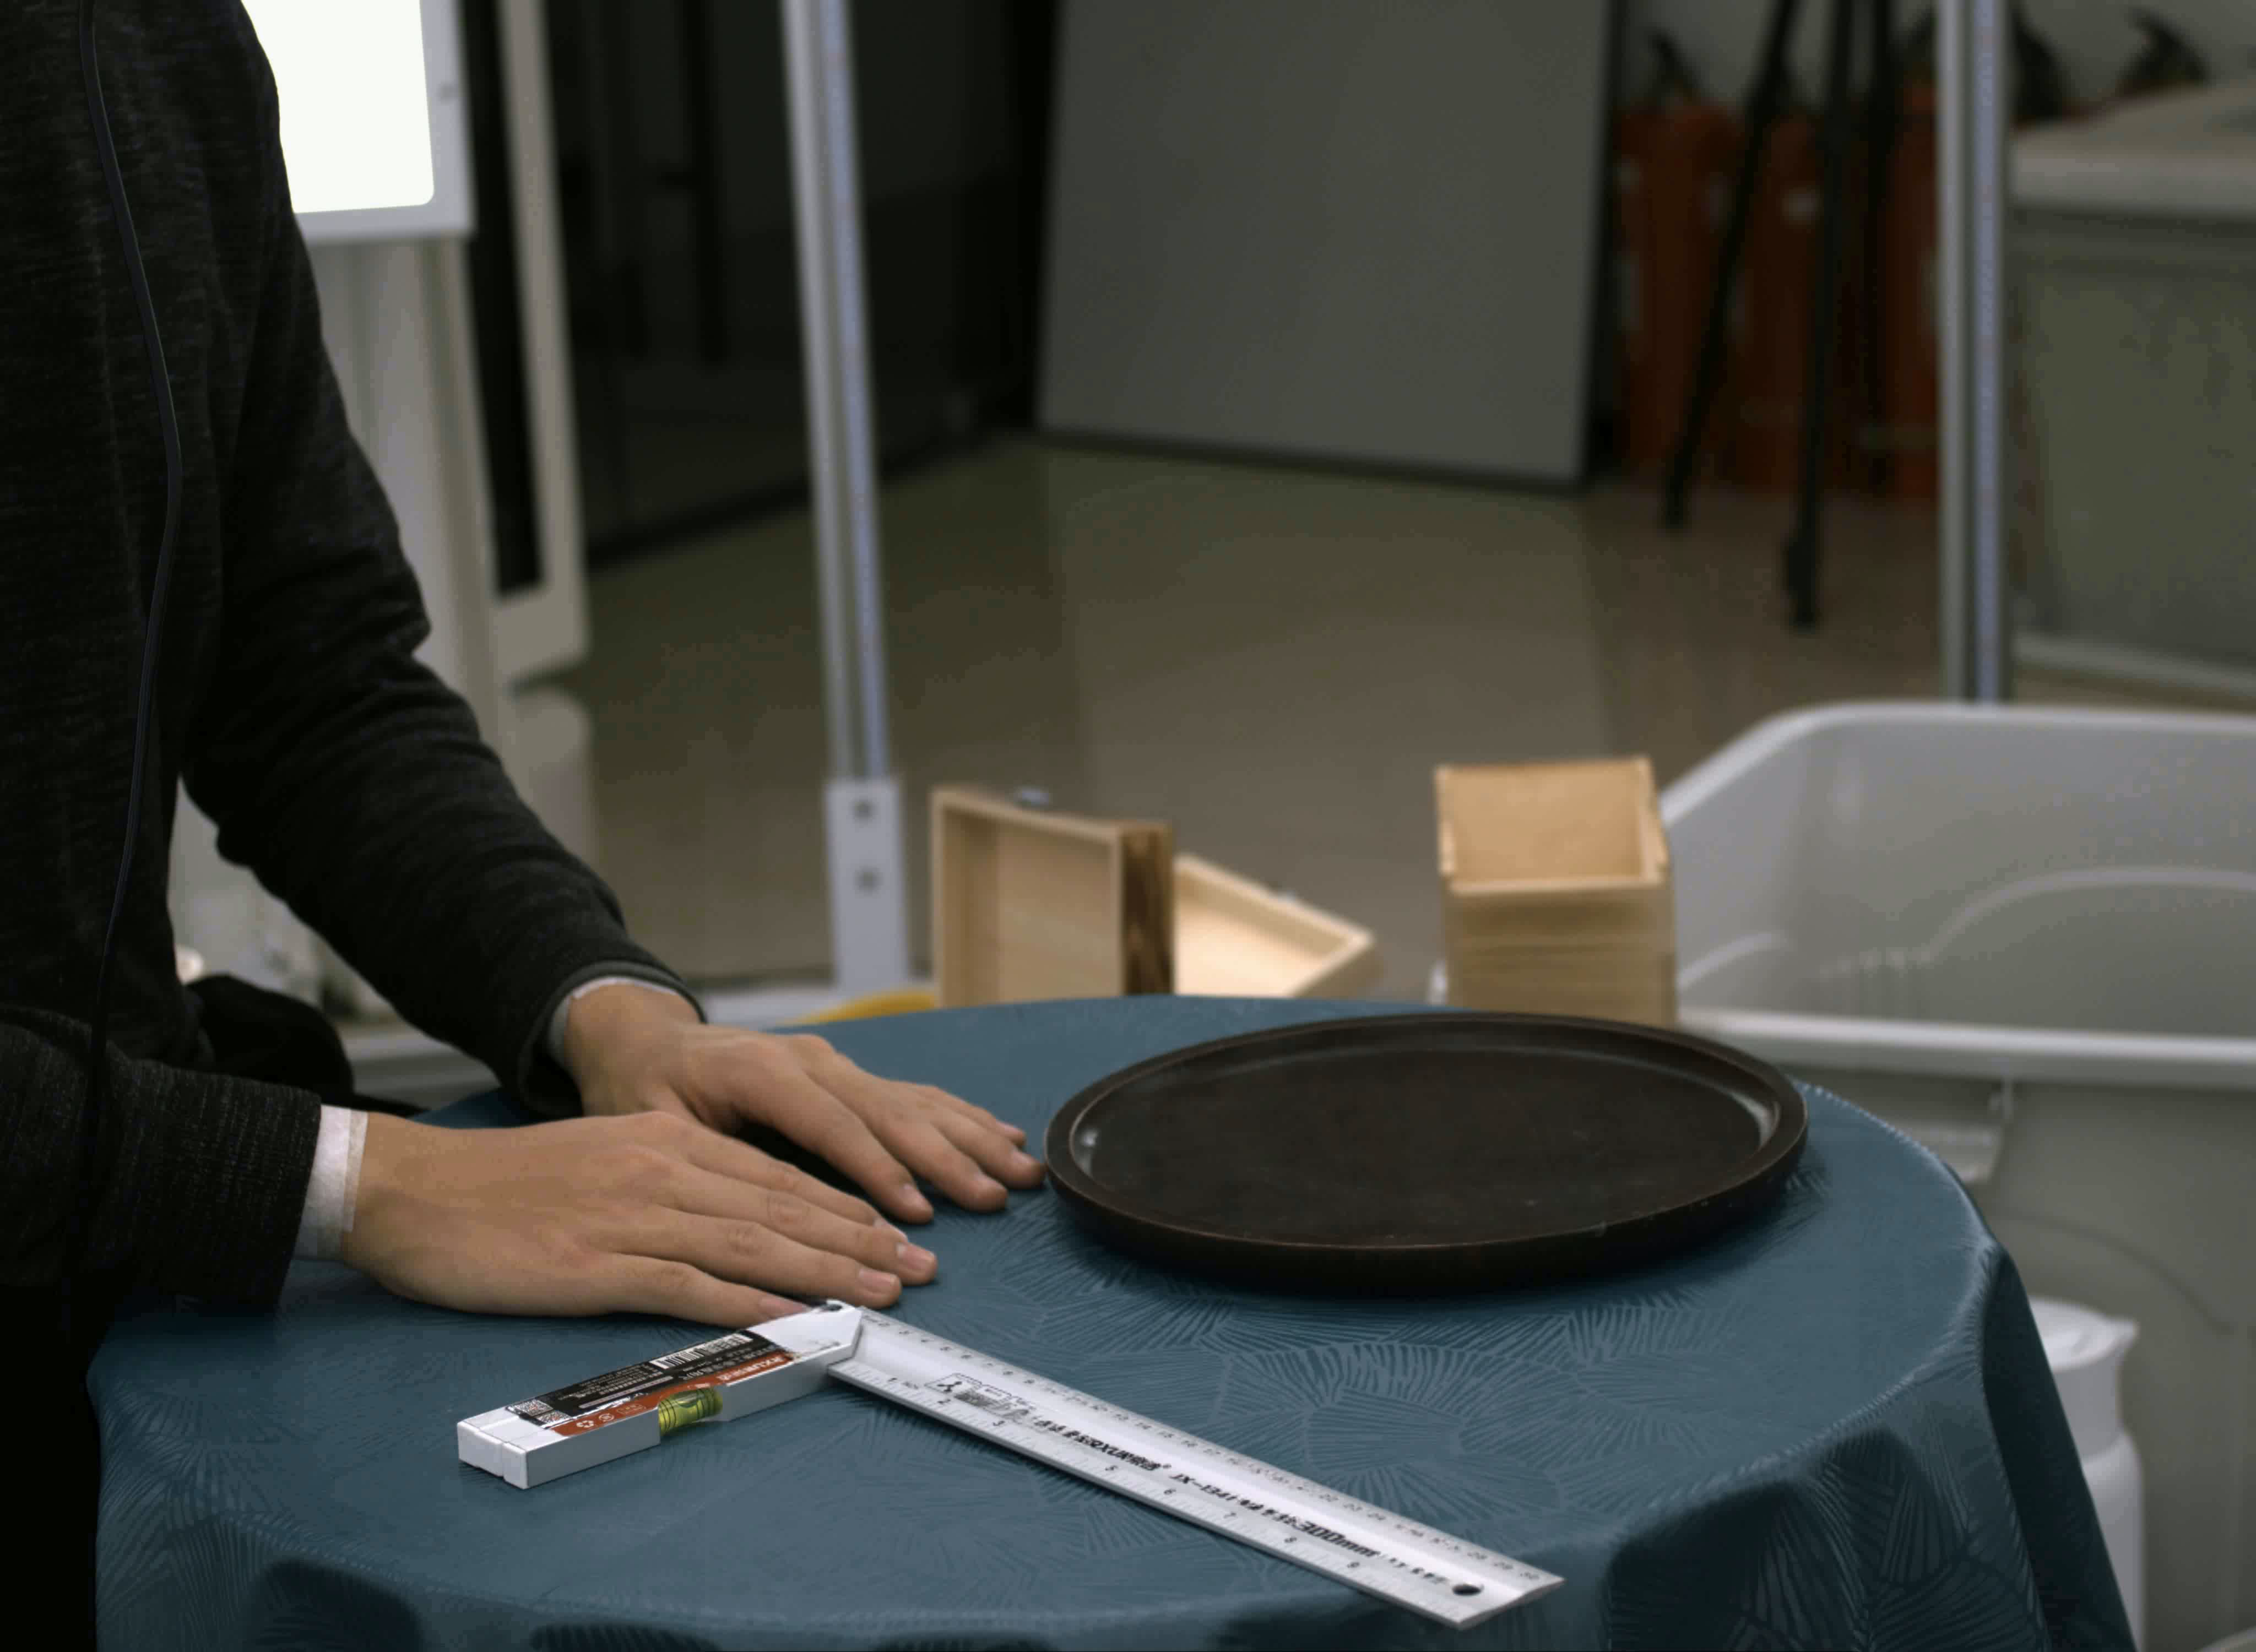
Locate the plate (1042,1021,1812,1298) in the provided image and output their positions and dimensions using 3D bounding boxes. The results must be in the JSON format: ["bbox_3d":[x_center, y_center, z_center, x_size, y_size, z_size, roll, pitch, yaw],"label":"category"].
[{"bbox_3d":[0.097,0.106,1.754,0.251,0.029,0.255,-4,15,0],"label":"plate"}]

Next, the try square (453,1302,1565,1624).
[{"bbox_3d":[-0.040,0.189,1.493,0.149,0.016,0.316,-16,19,-37],"label":"try square"}]
